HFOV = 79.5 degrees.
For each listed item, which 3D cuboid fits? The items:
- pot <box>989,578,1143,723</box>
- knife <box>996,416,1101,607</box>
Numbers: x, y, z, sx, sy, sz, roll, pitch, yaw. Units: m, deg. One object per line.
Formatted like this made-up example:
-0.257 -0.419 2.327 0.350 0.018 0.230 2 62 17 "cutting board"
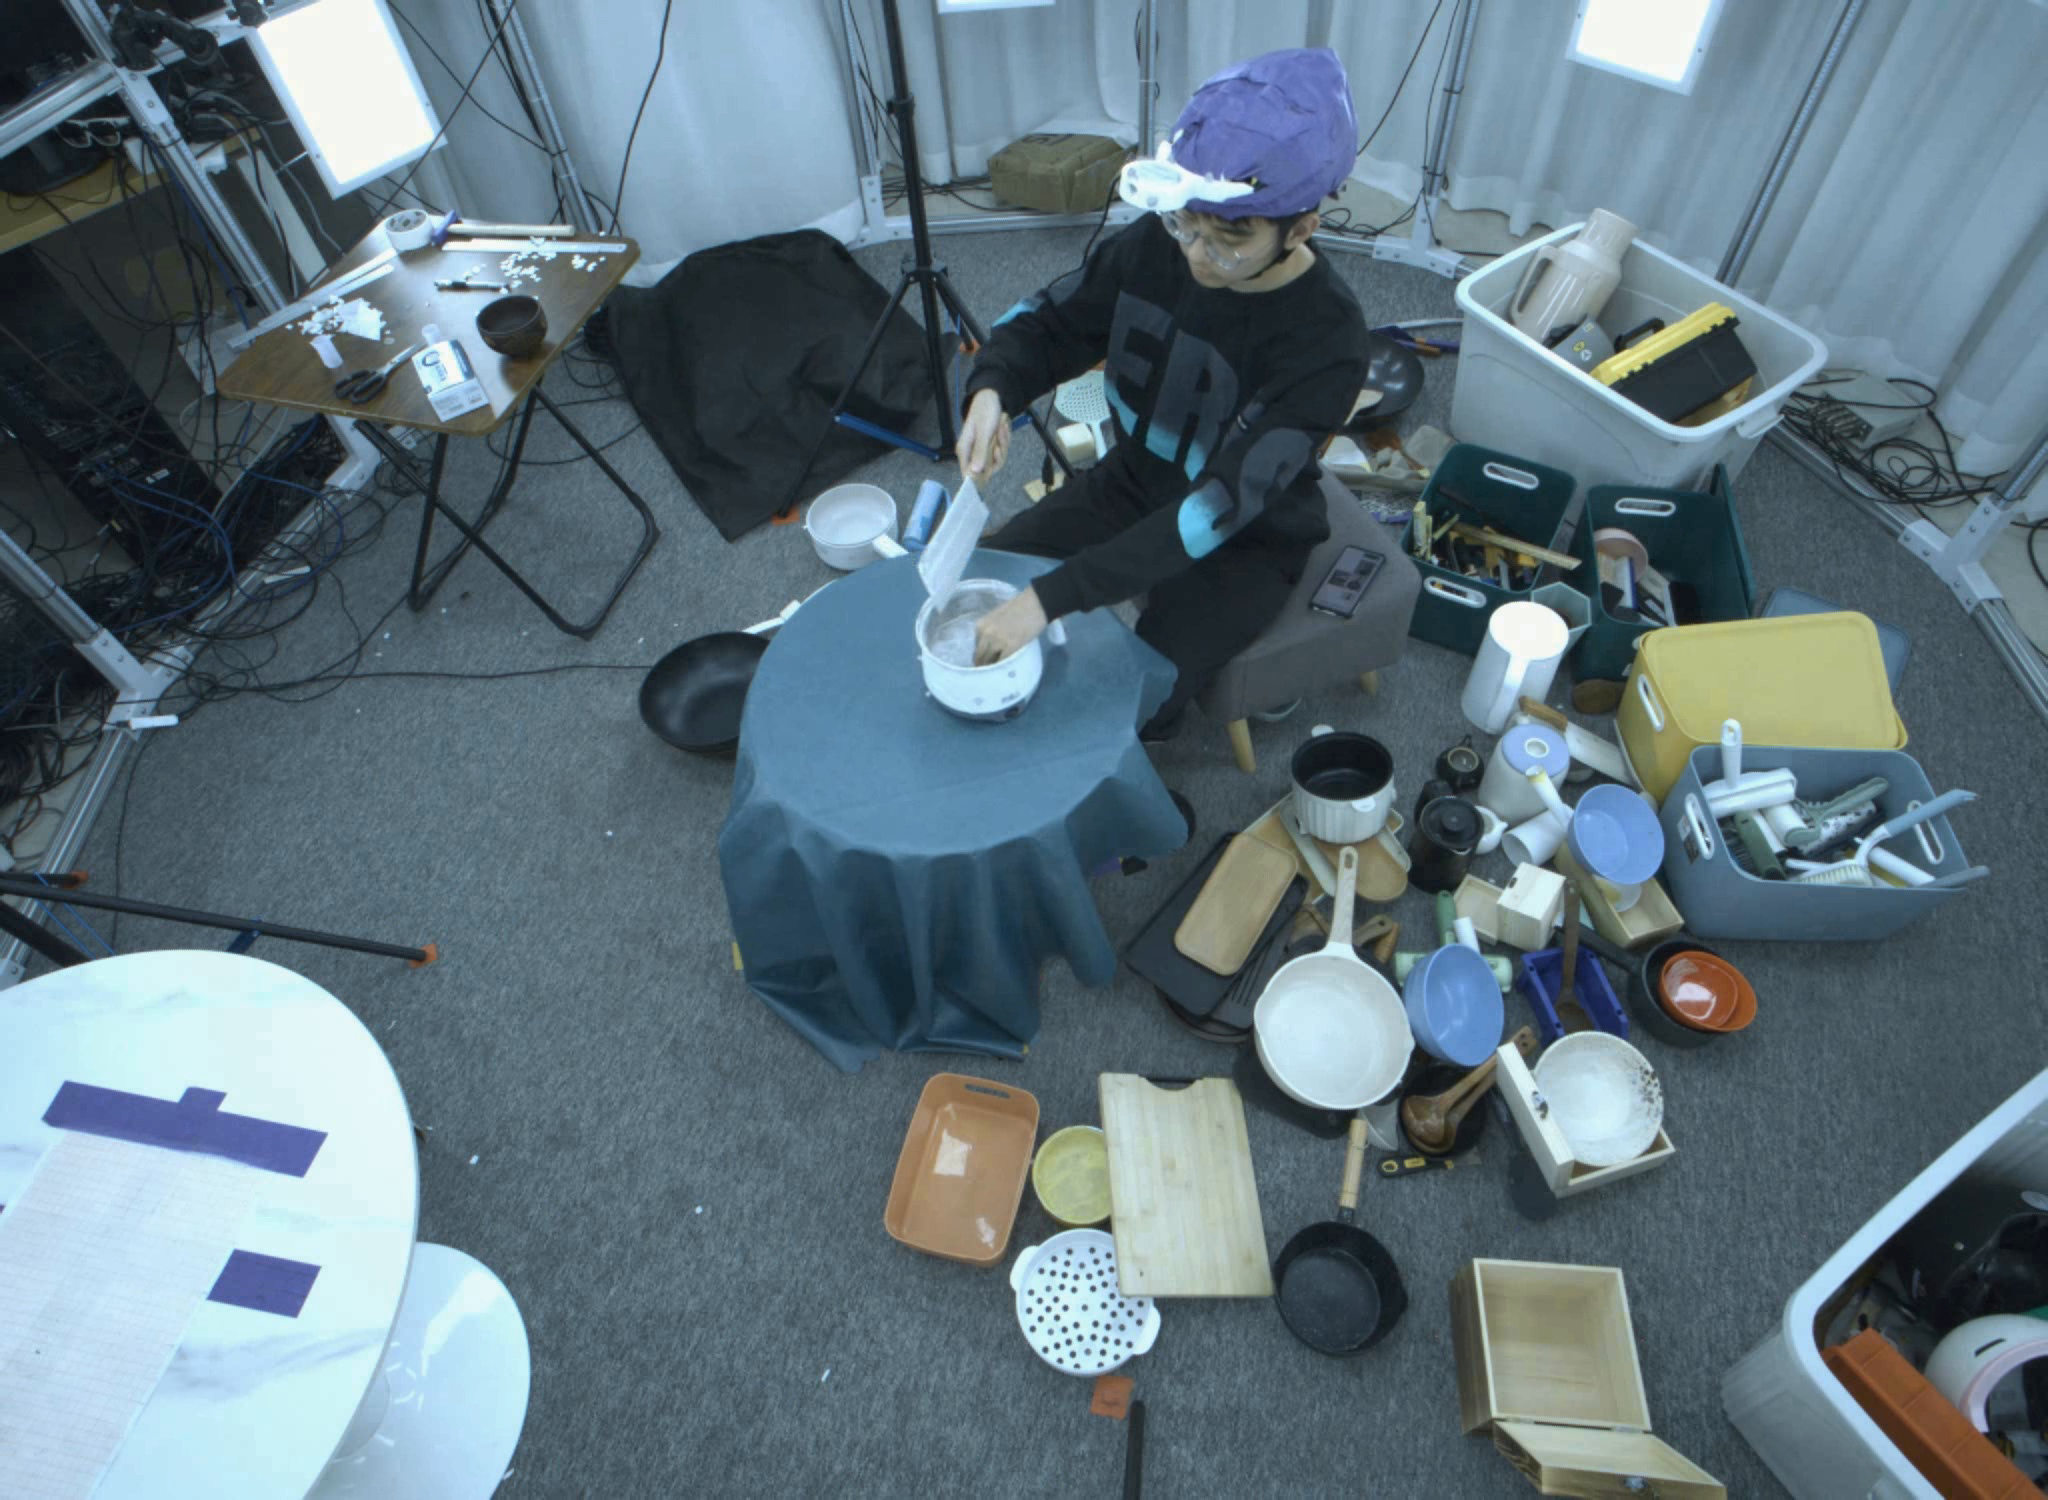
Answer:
0.067 -0.155 1.809 0.235 0.138 0.175 -25 58 -13 "pot"
0.035 -0.349 1.724 0.021 0.116 0.315 15 68 28 "knife"
